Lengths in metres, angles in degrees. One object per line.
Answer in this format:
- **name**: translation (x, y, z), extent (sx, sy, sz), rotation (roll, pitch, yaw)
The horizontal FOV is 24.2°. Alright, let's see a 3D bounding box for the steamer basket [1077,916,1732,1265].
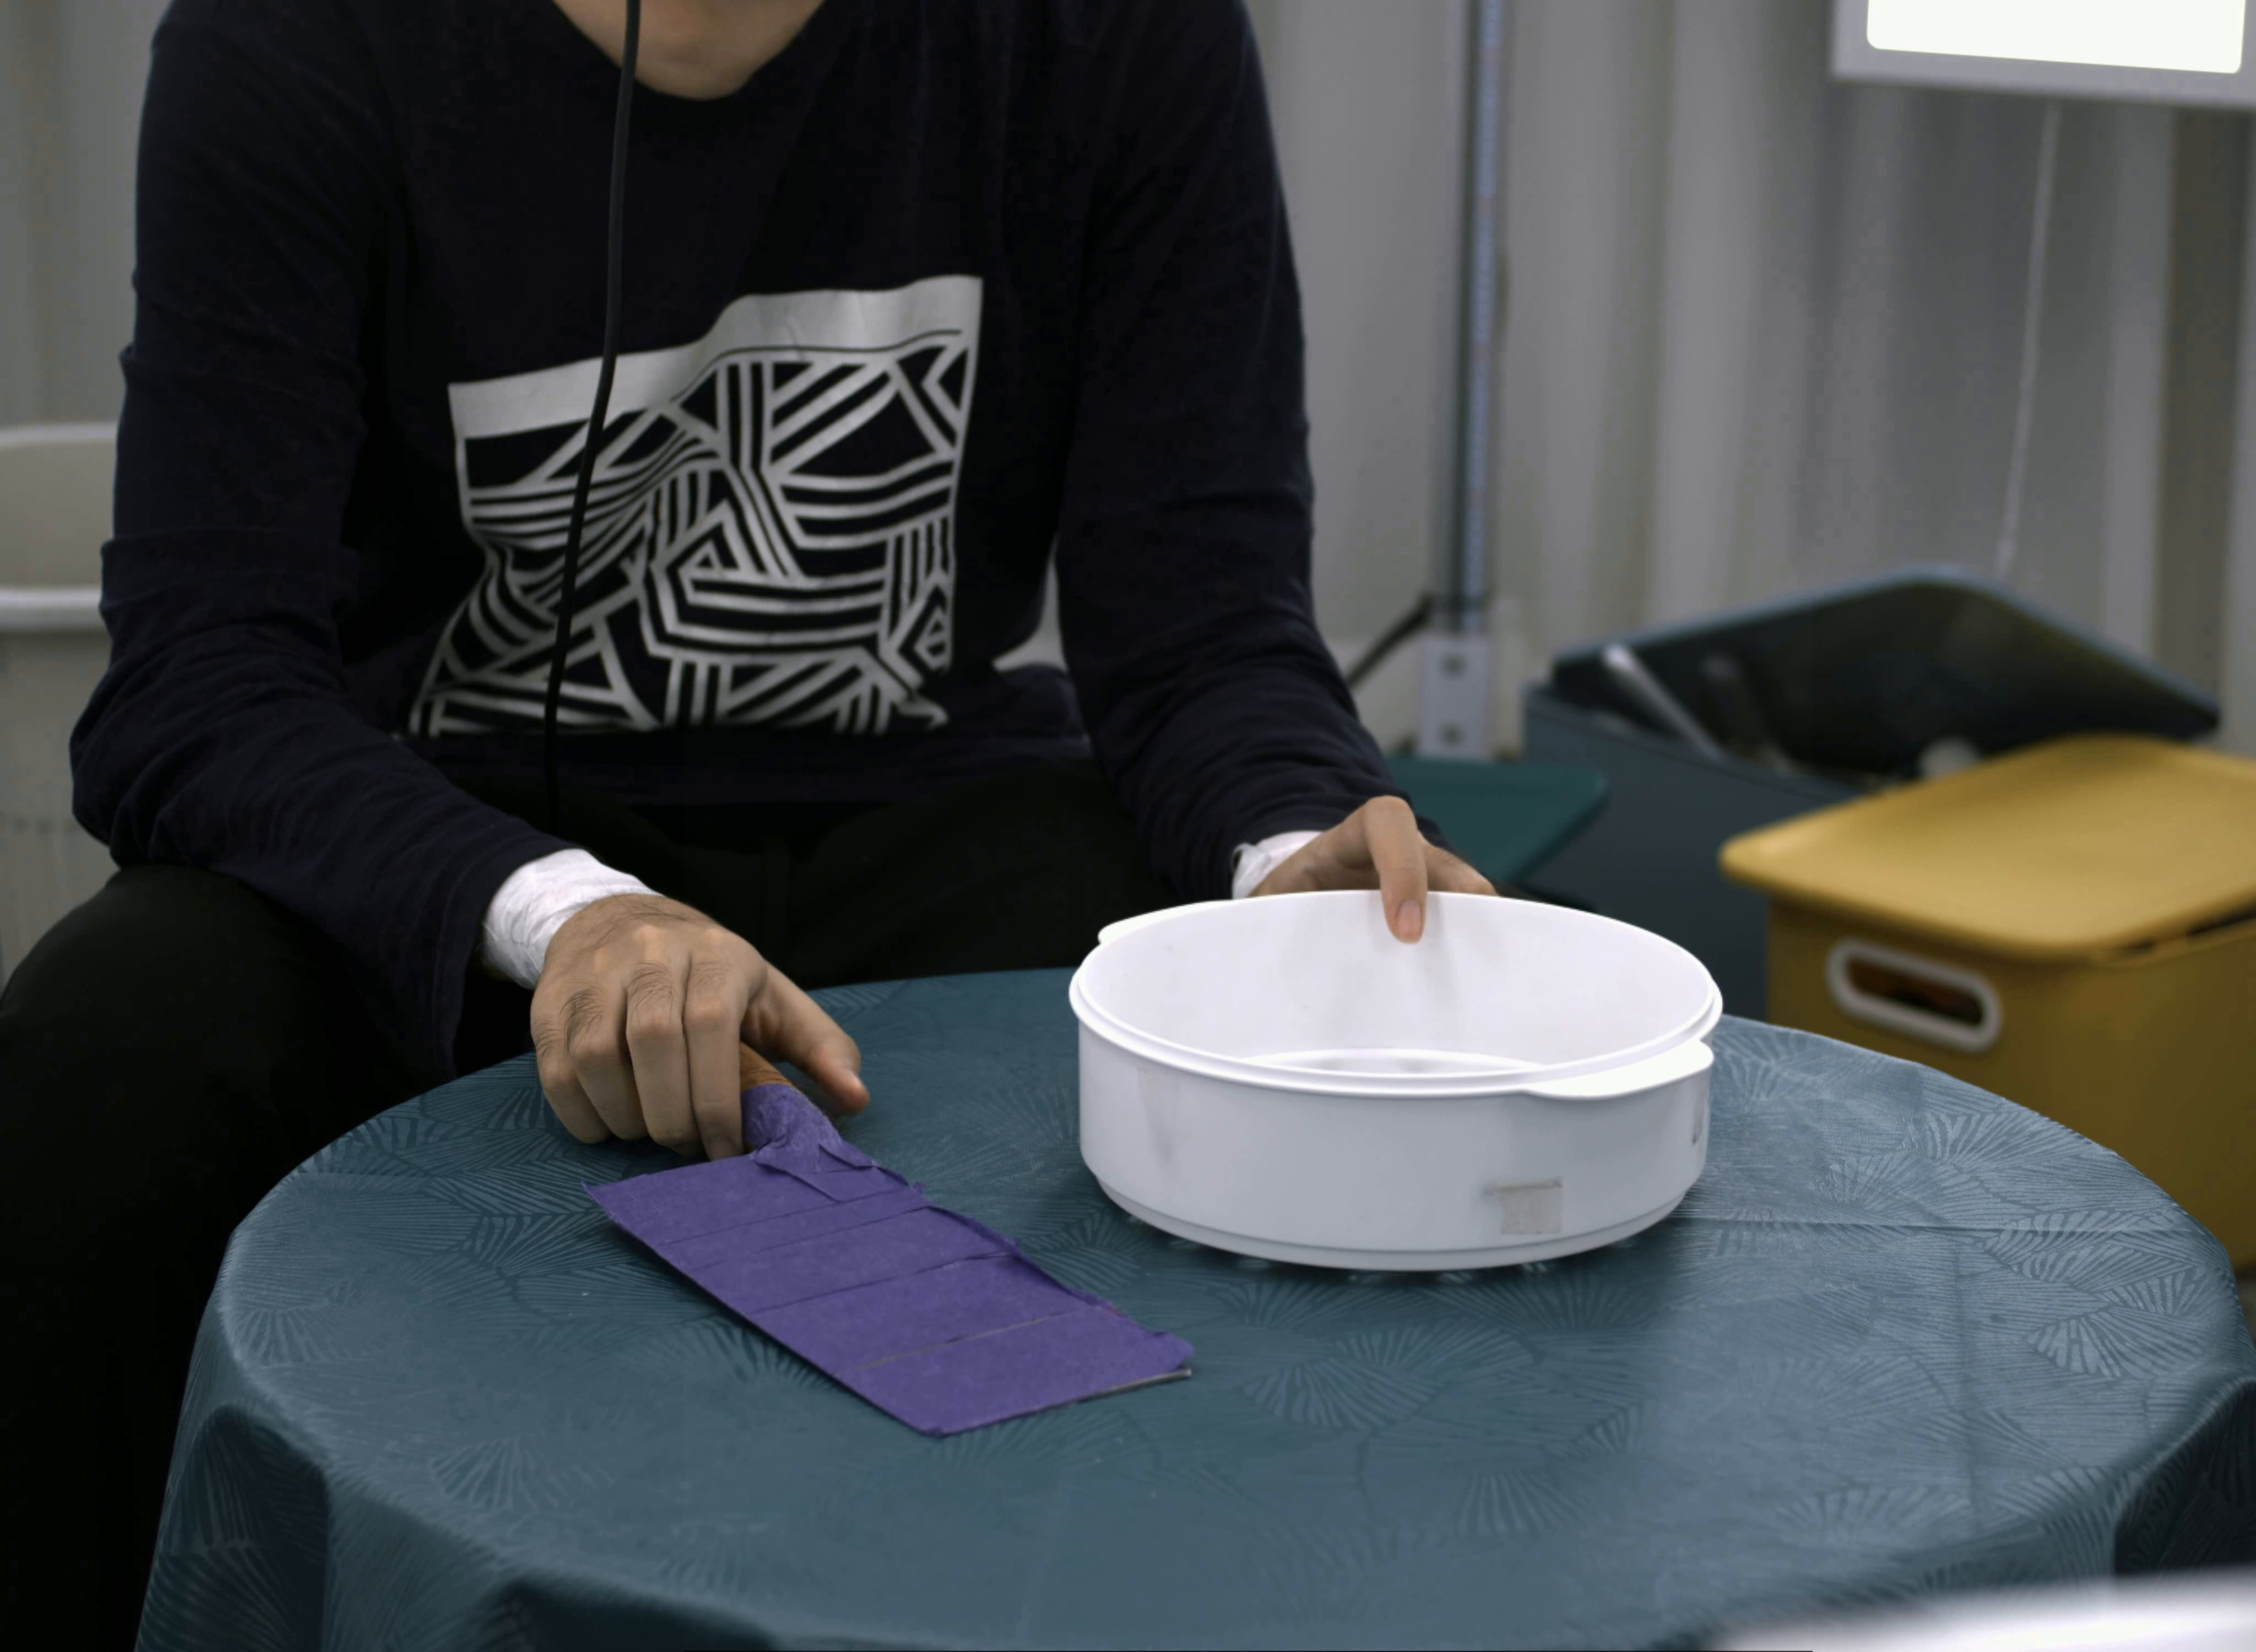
- **steamer basket**: translation (0.085, 0.081, 1.621), extent (0.203, 0.070, 0.227), rotation (-11, 16, -39)

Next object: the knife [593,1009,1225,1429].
- **knife**: translation (-0.099, 0.113, 1.568), extent (0.104, 0.032, 0.311), rotation (-9, 19, -33)
